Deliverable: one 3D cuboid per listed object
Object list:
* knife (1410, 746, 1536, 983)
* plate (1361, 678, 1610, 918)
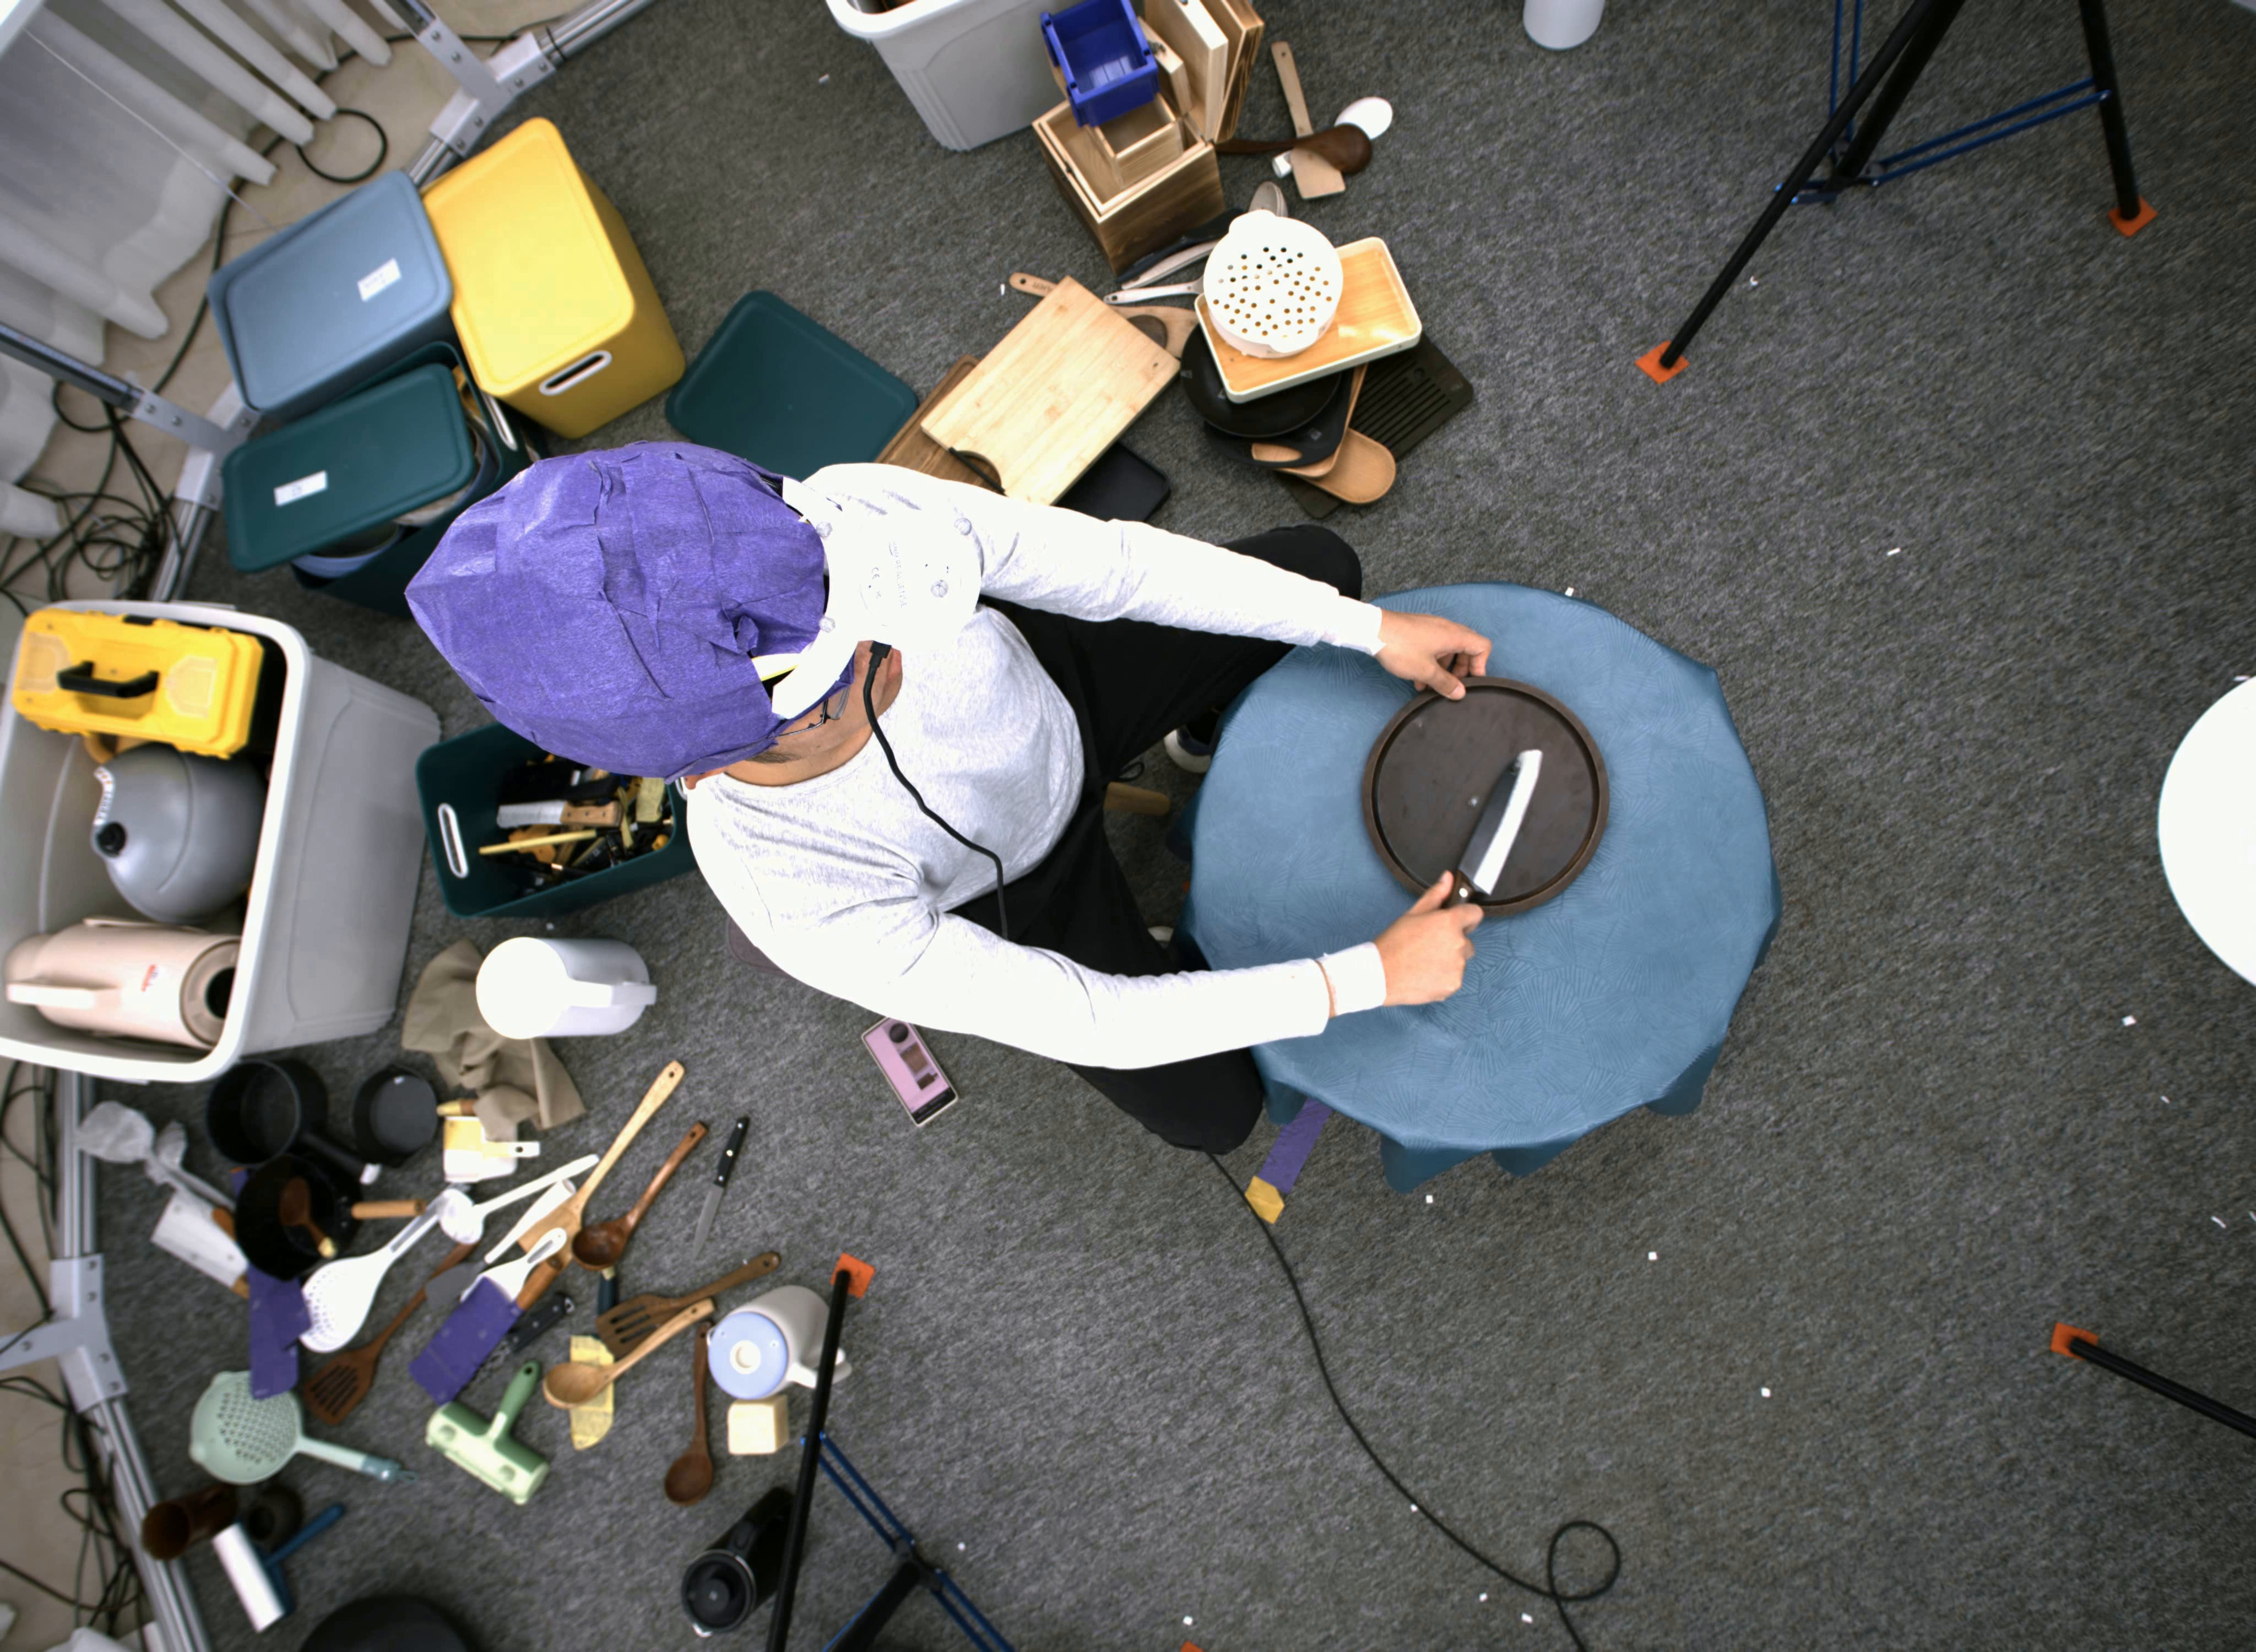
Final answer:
[{"bbox_3d":[0.353,0.034,1.392,0.050,0.020,0.285,34,76,-16],"label":"knife"},{"bbox_3d":[0.371,-0.032,1.434,0.256,0.029,0.254,-1,88,12],"label":"plate"}]
